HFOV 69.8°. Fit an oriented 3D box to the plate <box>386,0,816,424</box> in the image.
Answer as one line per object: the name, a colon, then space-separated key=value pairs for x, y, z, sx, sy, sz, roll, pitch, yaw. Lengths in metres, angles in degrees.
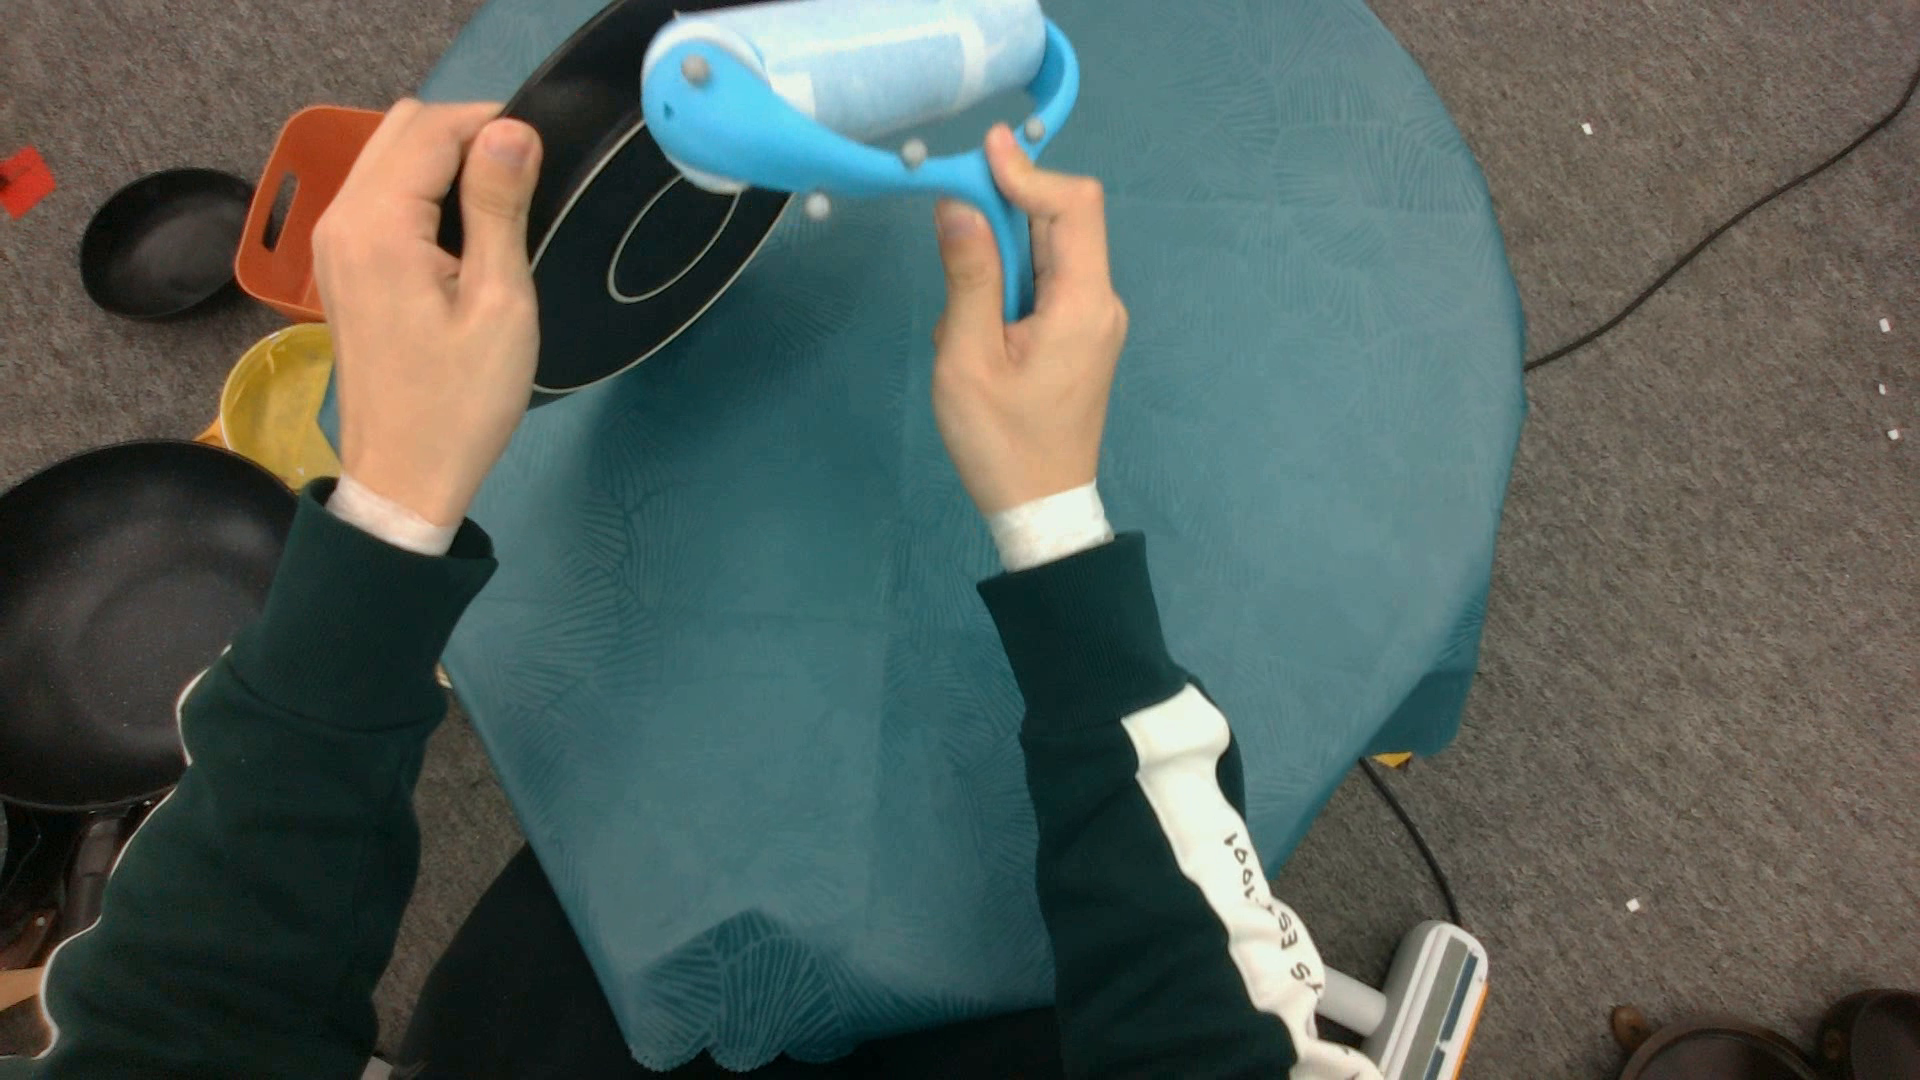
plate: x=-0.136 y=-0.136 z=0.577 sx=0.023 sy=0.244 sz=0.245 roll=41 pitch=76 yaw=4

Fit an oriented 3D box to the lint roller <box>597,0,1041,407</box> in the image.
lint roller: x=-0.020 y=-0.140 z=0.519 sx=0.180 sy=0.067 sz=0.230 roll=61 pitch=38 yaw=-15
